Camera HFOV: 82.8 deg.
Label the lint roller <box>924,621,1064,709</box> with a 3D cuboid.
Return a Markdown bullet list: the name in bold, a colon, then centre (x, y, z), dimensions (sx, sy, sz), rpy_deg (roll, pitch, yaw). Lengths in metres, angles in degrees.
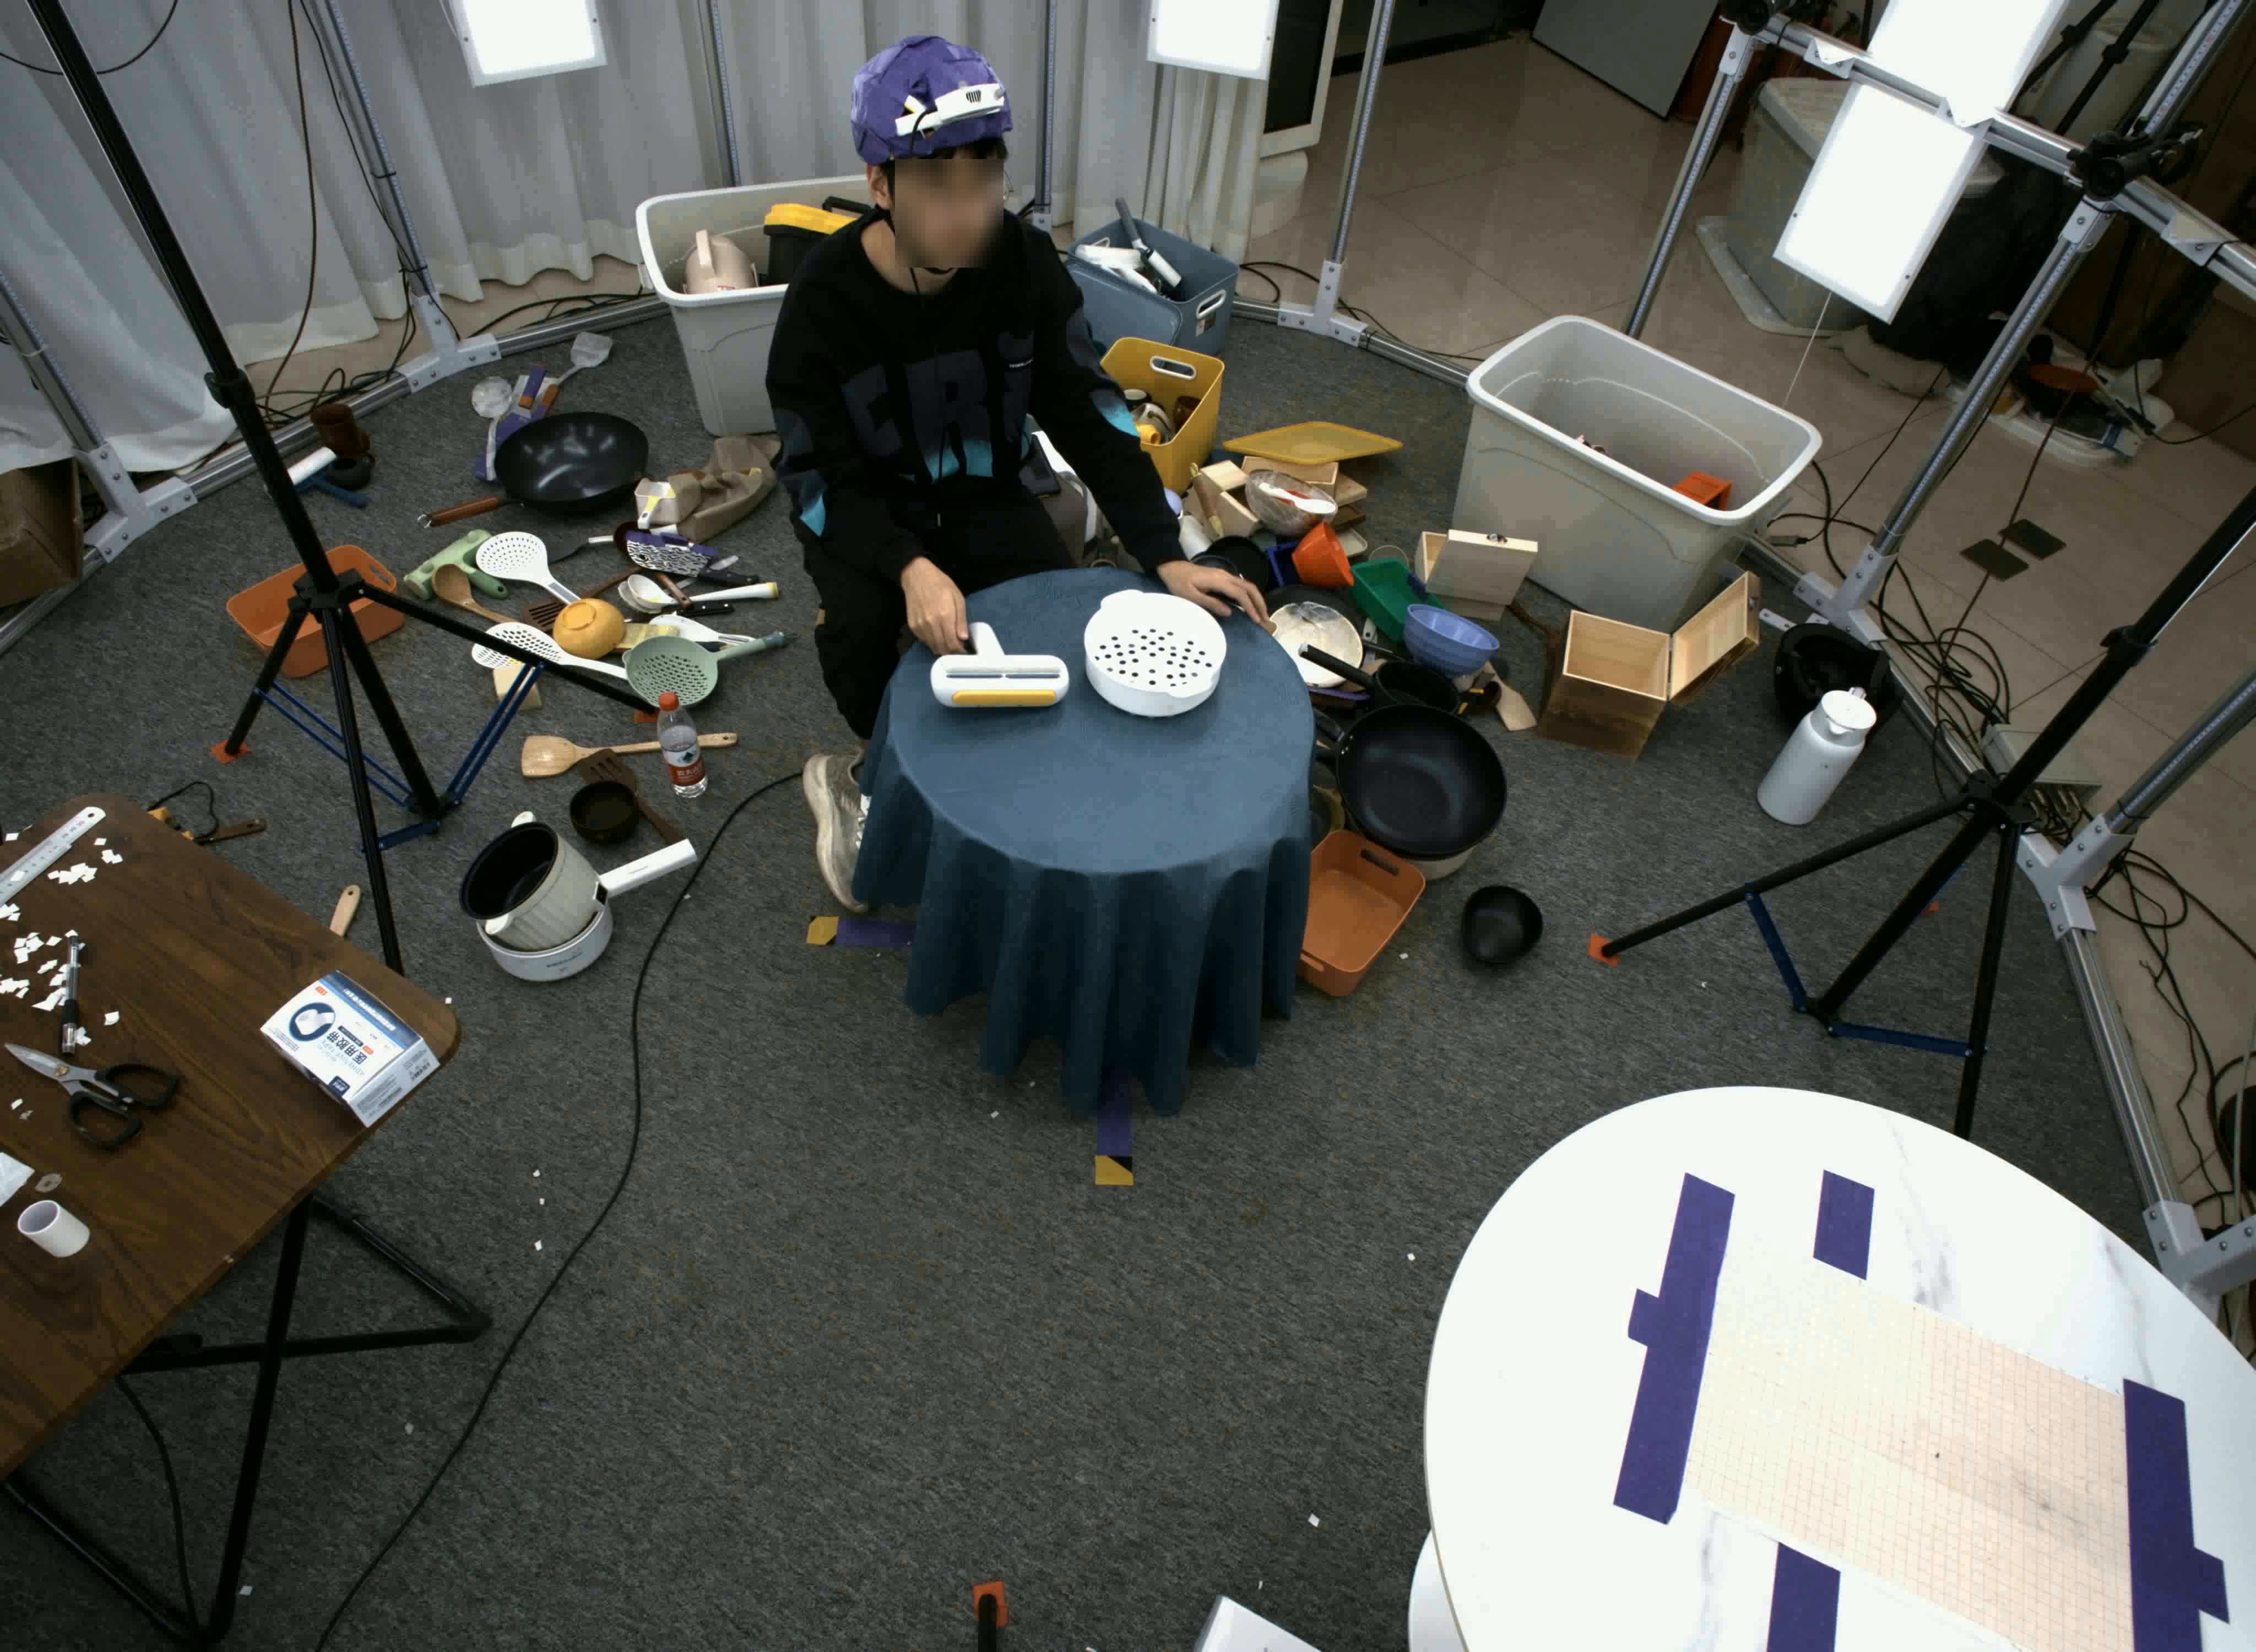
- **lint roller**: centre (-0.195, -0.239, 1.819), dimensions (0.192, 0.072, 0.197), rpy_deg (-3, 48, -13)

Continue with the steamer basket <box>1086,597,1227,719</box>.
- **steamer basket**: centre (0.039, -0.238, 1.837), dimensions (0.202, 0.067, 0.235), rpy_deg (-20, 51, -21)
